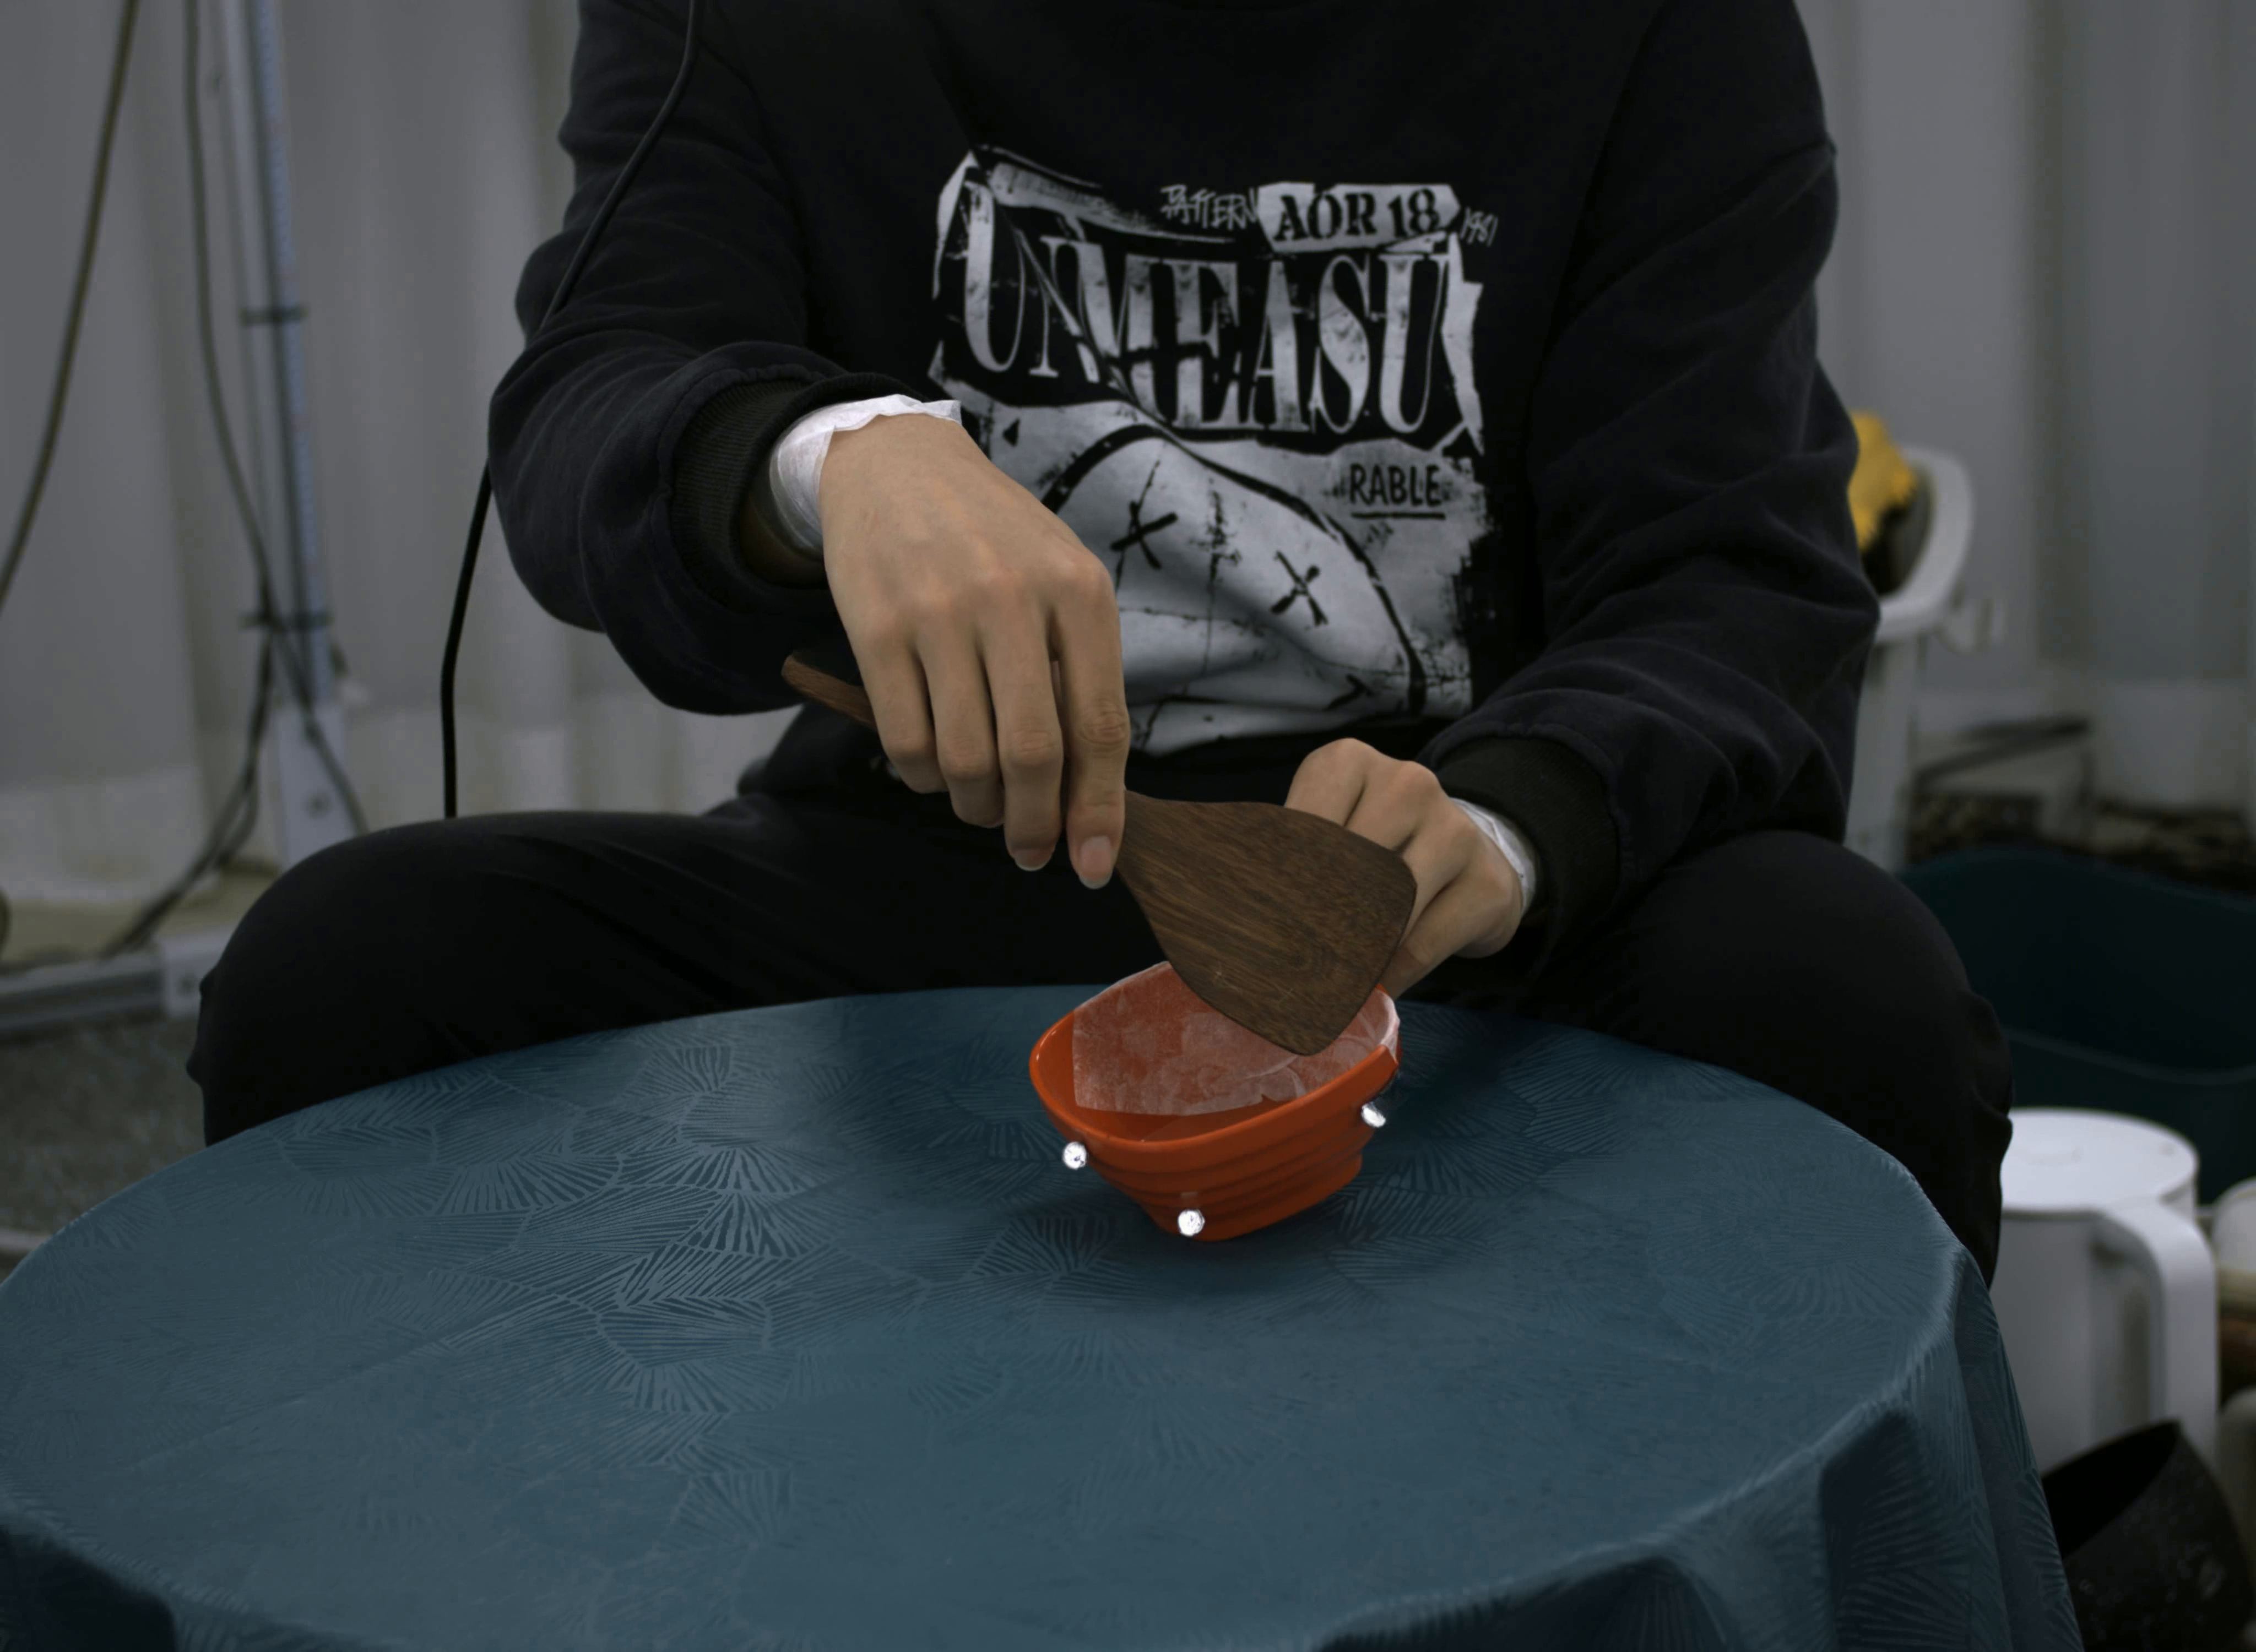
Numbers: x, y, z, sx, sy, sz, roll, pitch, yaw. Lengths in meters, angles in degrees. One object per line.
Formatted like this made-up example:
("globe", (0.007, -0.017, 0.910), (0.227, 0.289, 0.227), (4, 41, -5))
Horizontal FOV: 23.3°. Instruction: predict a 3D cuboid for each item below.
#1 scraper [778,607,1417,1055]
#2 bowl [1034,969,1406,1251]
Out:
("scraper", (-0.014, -0.007, 1.684), (0.211, 0.076, 0.011), (30, -18, 7))
("bowl", (0.033, 0.088, 1.685), (0.118, 0.051, 0.120), (-14, 26, 7))
